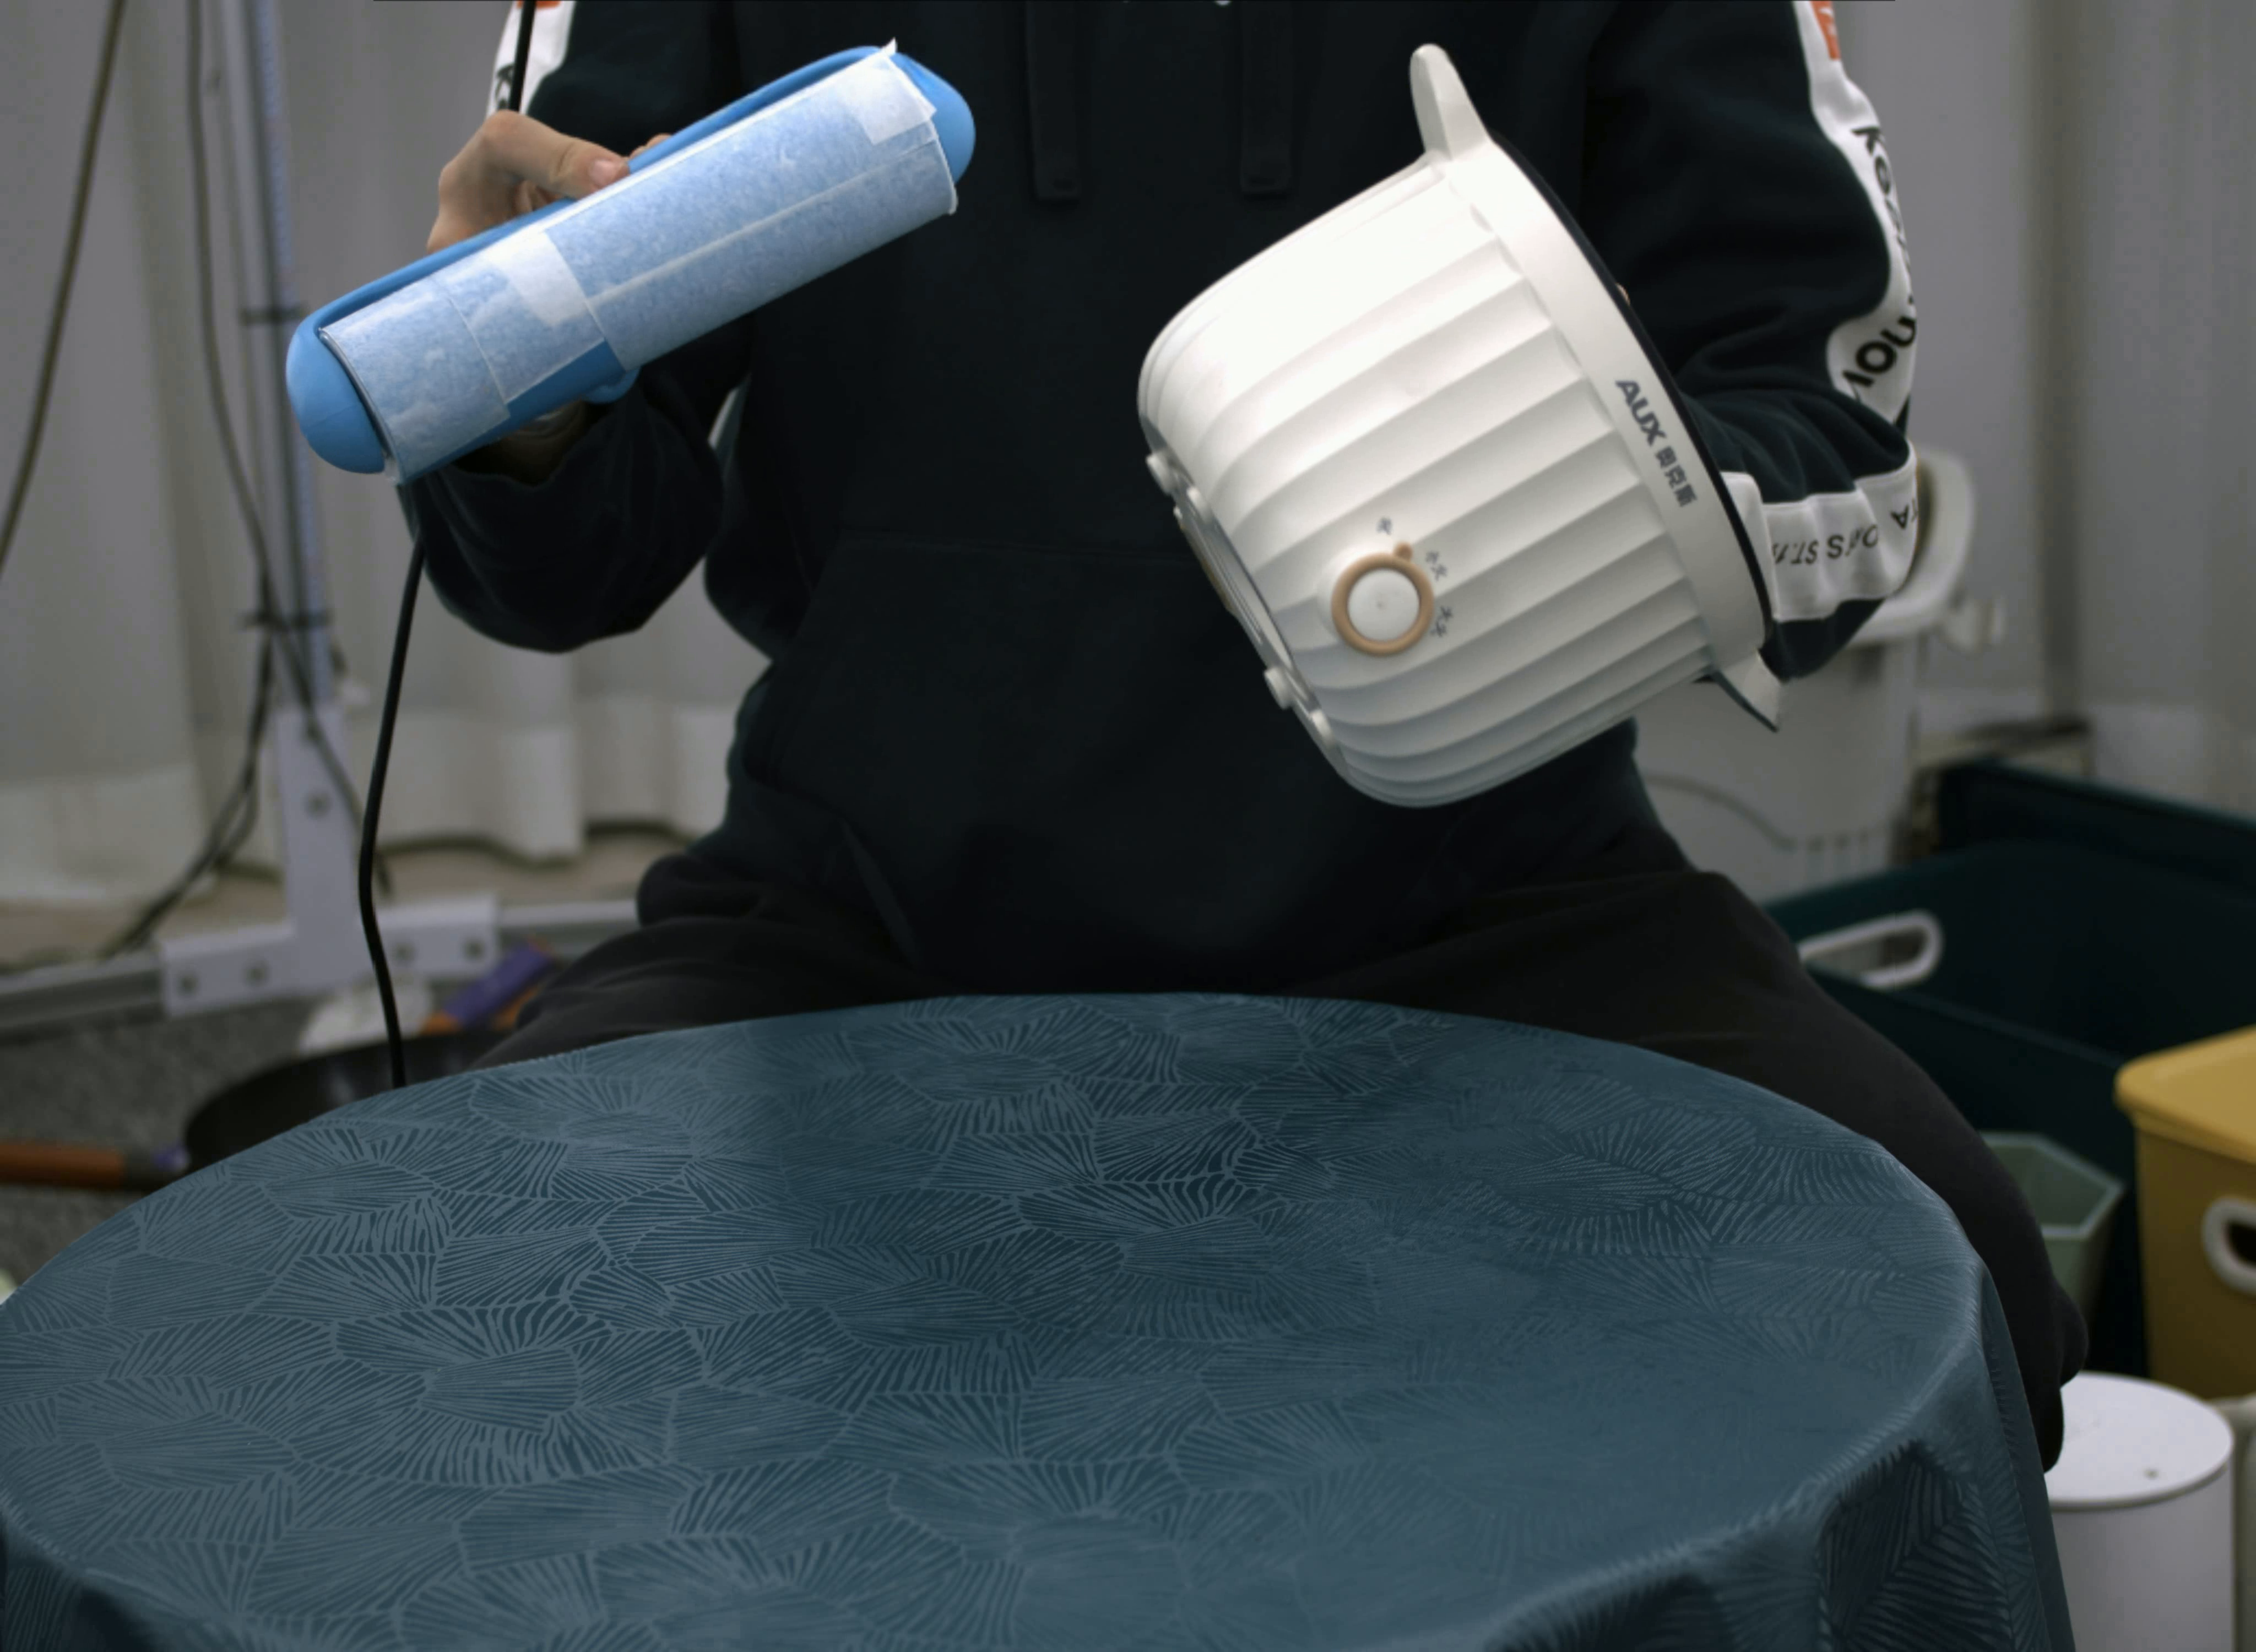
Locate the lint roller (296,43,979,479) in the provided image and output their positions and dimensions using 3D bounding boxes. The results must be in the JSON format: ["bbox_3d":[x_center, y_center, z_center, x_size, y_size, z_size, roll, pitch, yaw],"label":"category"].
[{"bbox_3d":[-0.164,-0.169,1.726,0.229,0.068,0.180,-30,5,-17],"label":"lint roller"}]

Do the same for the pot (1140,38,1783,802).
[{"bbox_3d":[0.094,-0.101,1.662,0.142,0.239,0.191,-31,14,-5],"label":"pot"}]
